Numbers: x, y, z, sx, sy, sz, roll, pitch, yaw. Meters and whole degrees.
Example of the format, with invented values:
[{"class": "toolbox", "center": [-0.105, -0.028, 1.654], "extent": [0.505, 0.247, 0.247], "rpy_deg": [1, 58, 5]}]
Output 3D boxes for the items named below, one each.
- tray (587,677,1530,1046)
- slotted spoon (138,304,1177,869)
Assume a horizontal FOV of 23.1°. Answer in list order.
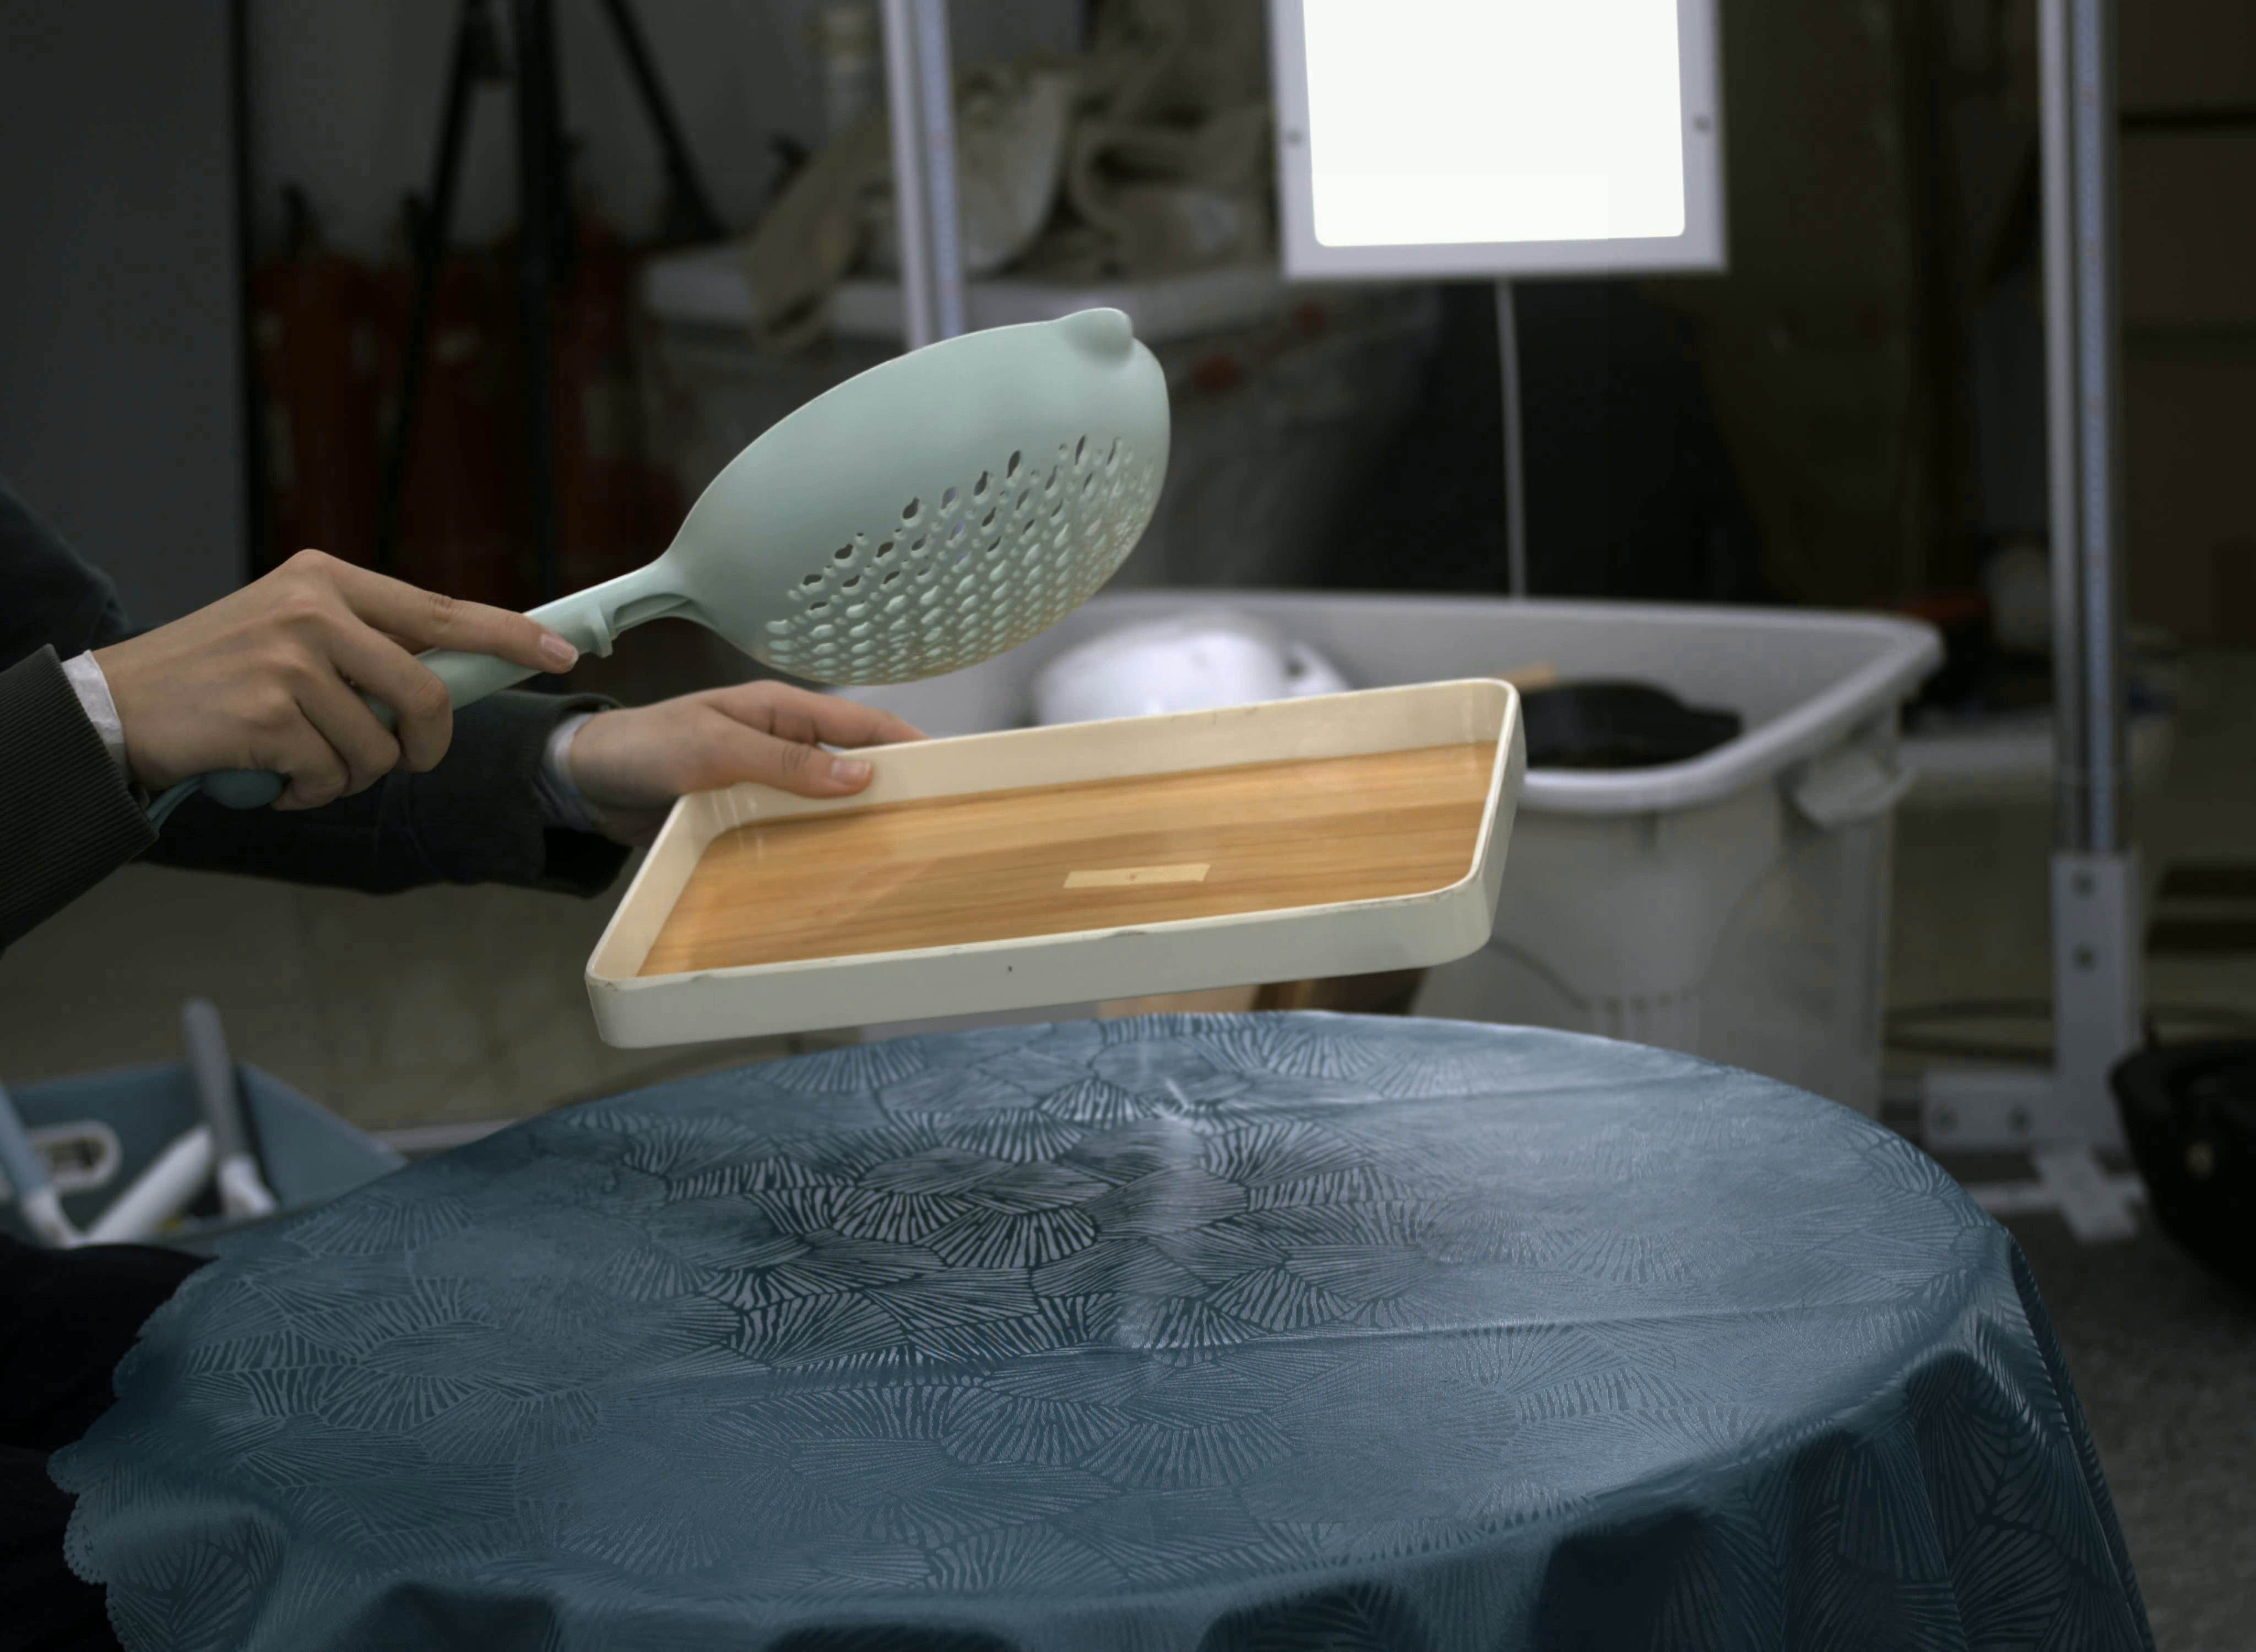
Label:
[{"class": "tray", "center": [-0.019, 0.011, 1.847], "extent": [0.303, 0.027, 0.189], "rpy_deg": [-6, 22, 14]}, {"class": "slotted spoon", "center": [-0.148, -0.066, 1.755], "extent": [0.356, 0.075, 0.170], "rpy_deg": [-15, -23, -4]}]
